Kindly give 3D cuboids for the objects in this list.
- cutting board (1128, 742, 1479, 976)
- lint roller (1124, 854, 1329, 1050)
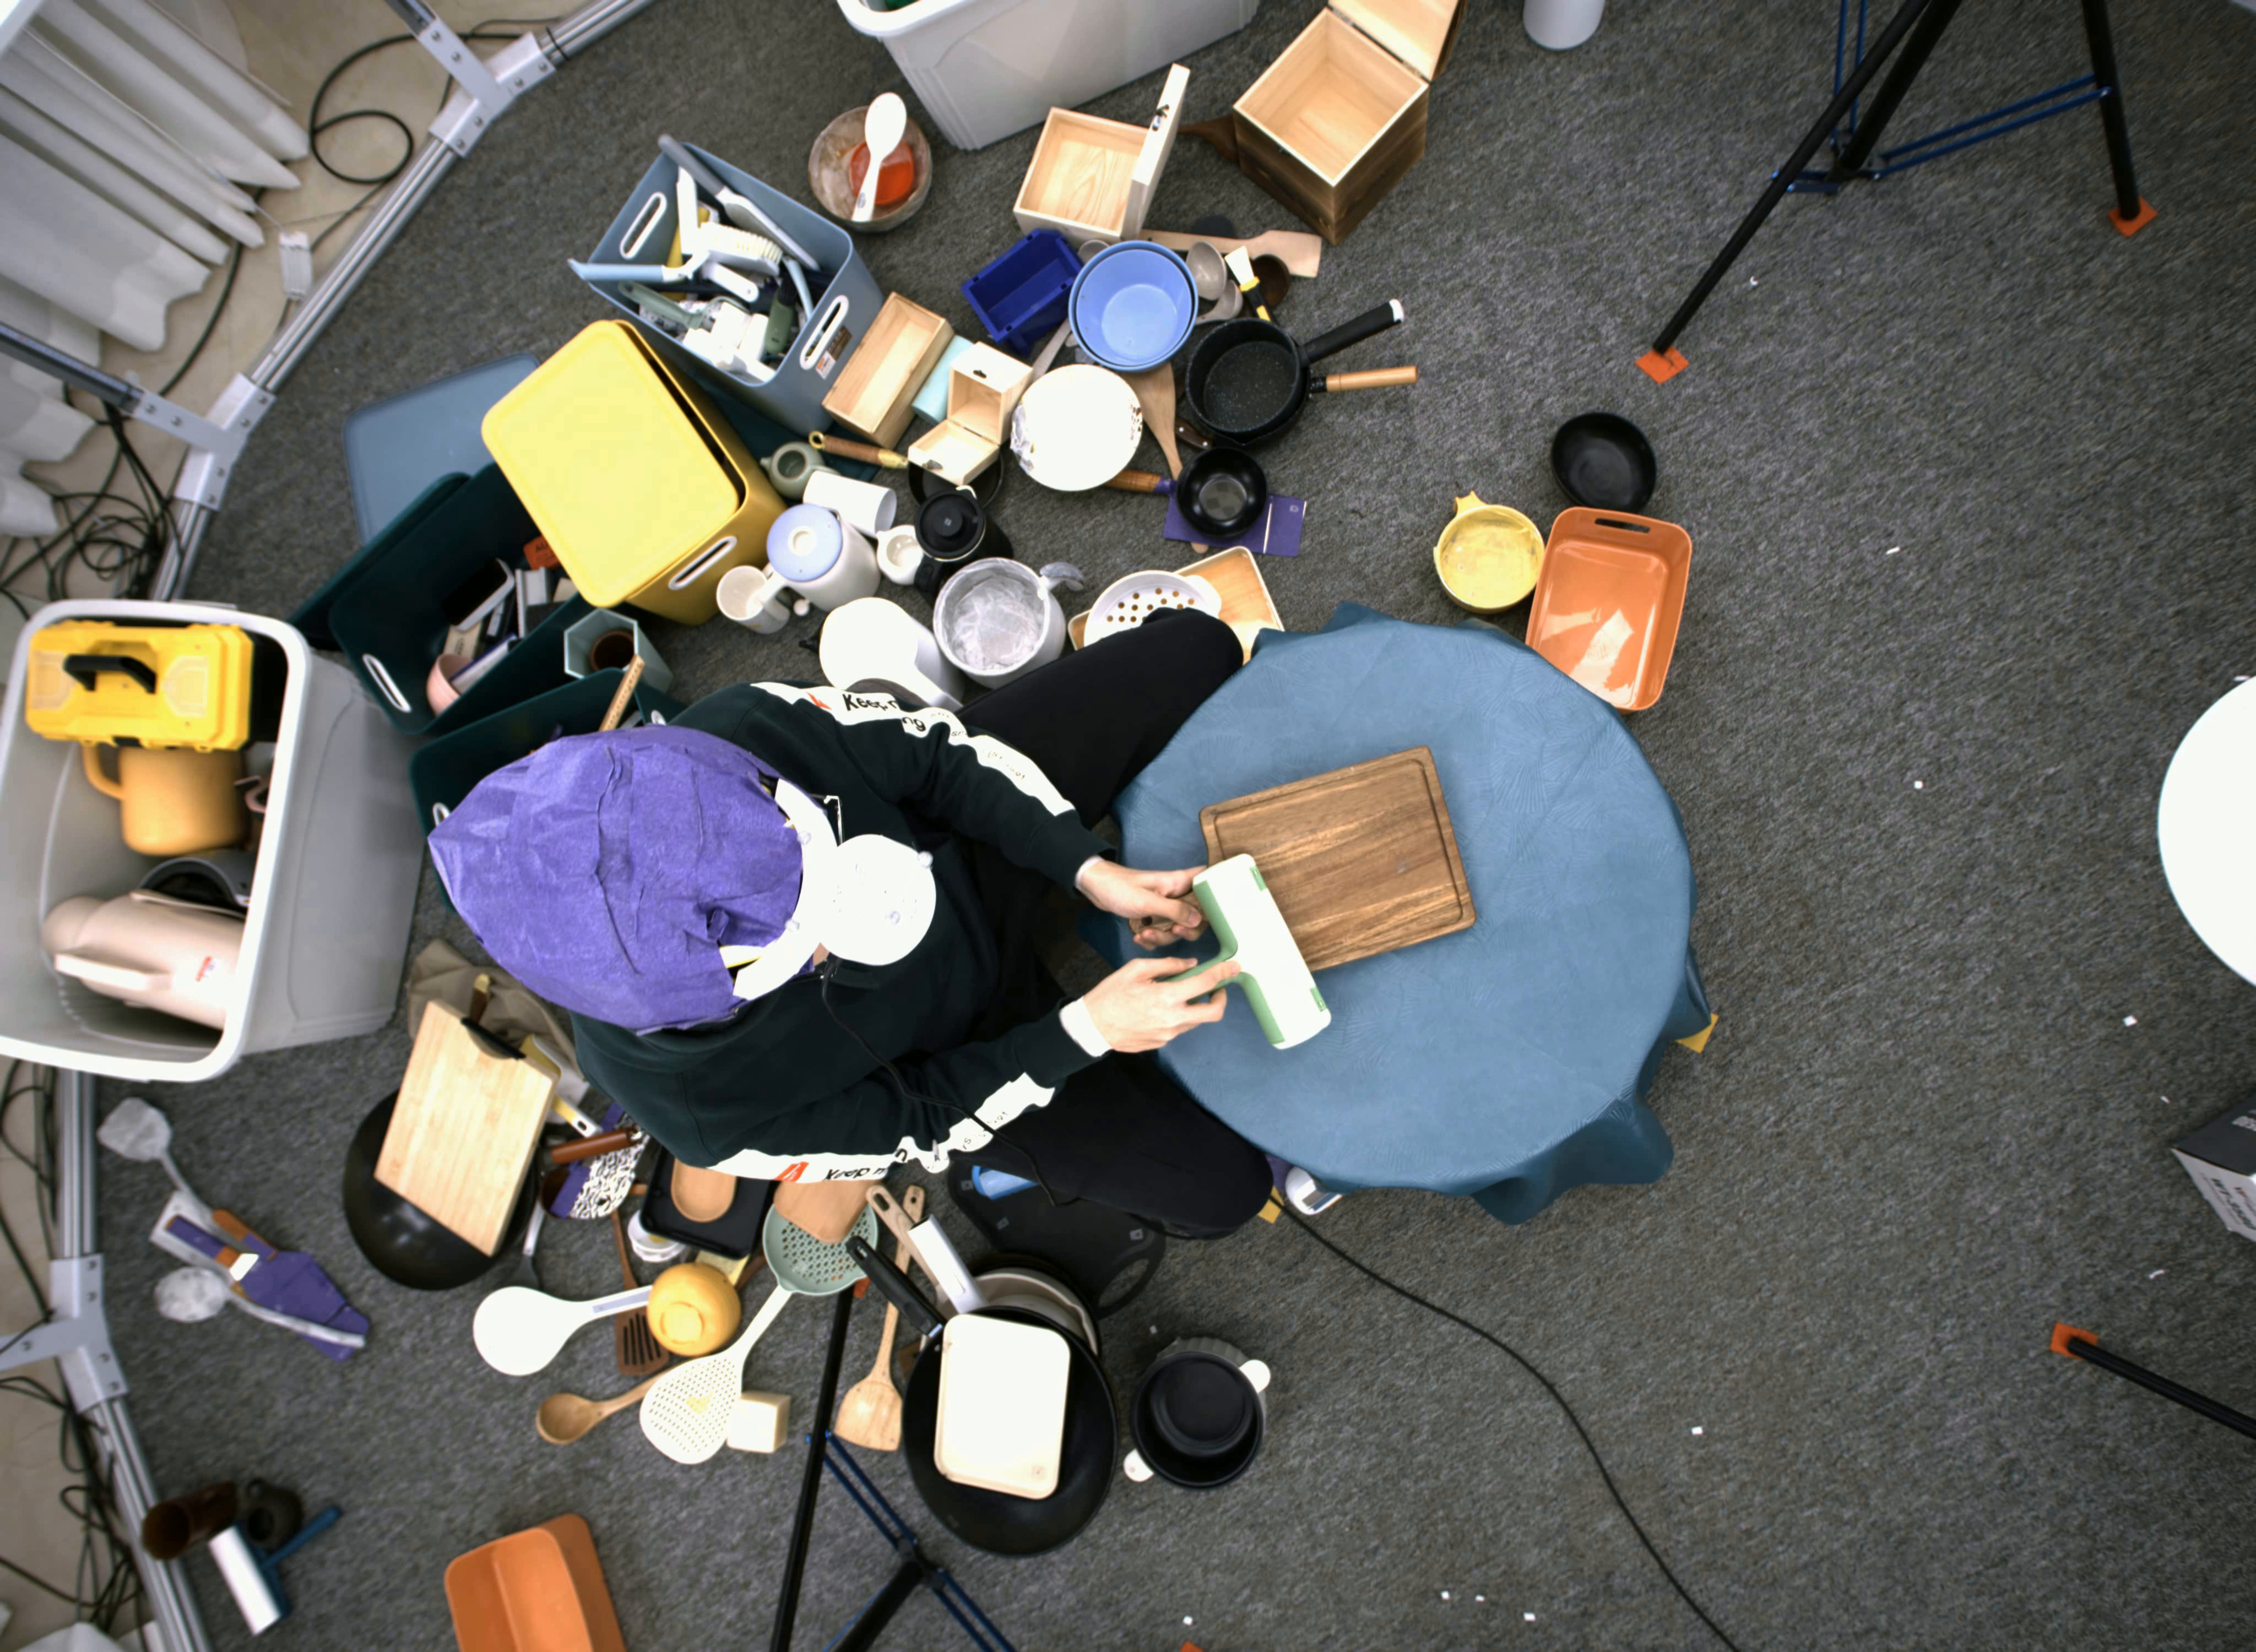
[{"bbox_3d":[0.169,0.054,1.434,0.353,0.023,0.201,-16,94,4],"label":"cutting board"},{"bbox_3d":[0.084,0.149,1.373,0.182,0.083,0.198,-26,91,-15],"label":"lint roller"}]
